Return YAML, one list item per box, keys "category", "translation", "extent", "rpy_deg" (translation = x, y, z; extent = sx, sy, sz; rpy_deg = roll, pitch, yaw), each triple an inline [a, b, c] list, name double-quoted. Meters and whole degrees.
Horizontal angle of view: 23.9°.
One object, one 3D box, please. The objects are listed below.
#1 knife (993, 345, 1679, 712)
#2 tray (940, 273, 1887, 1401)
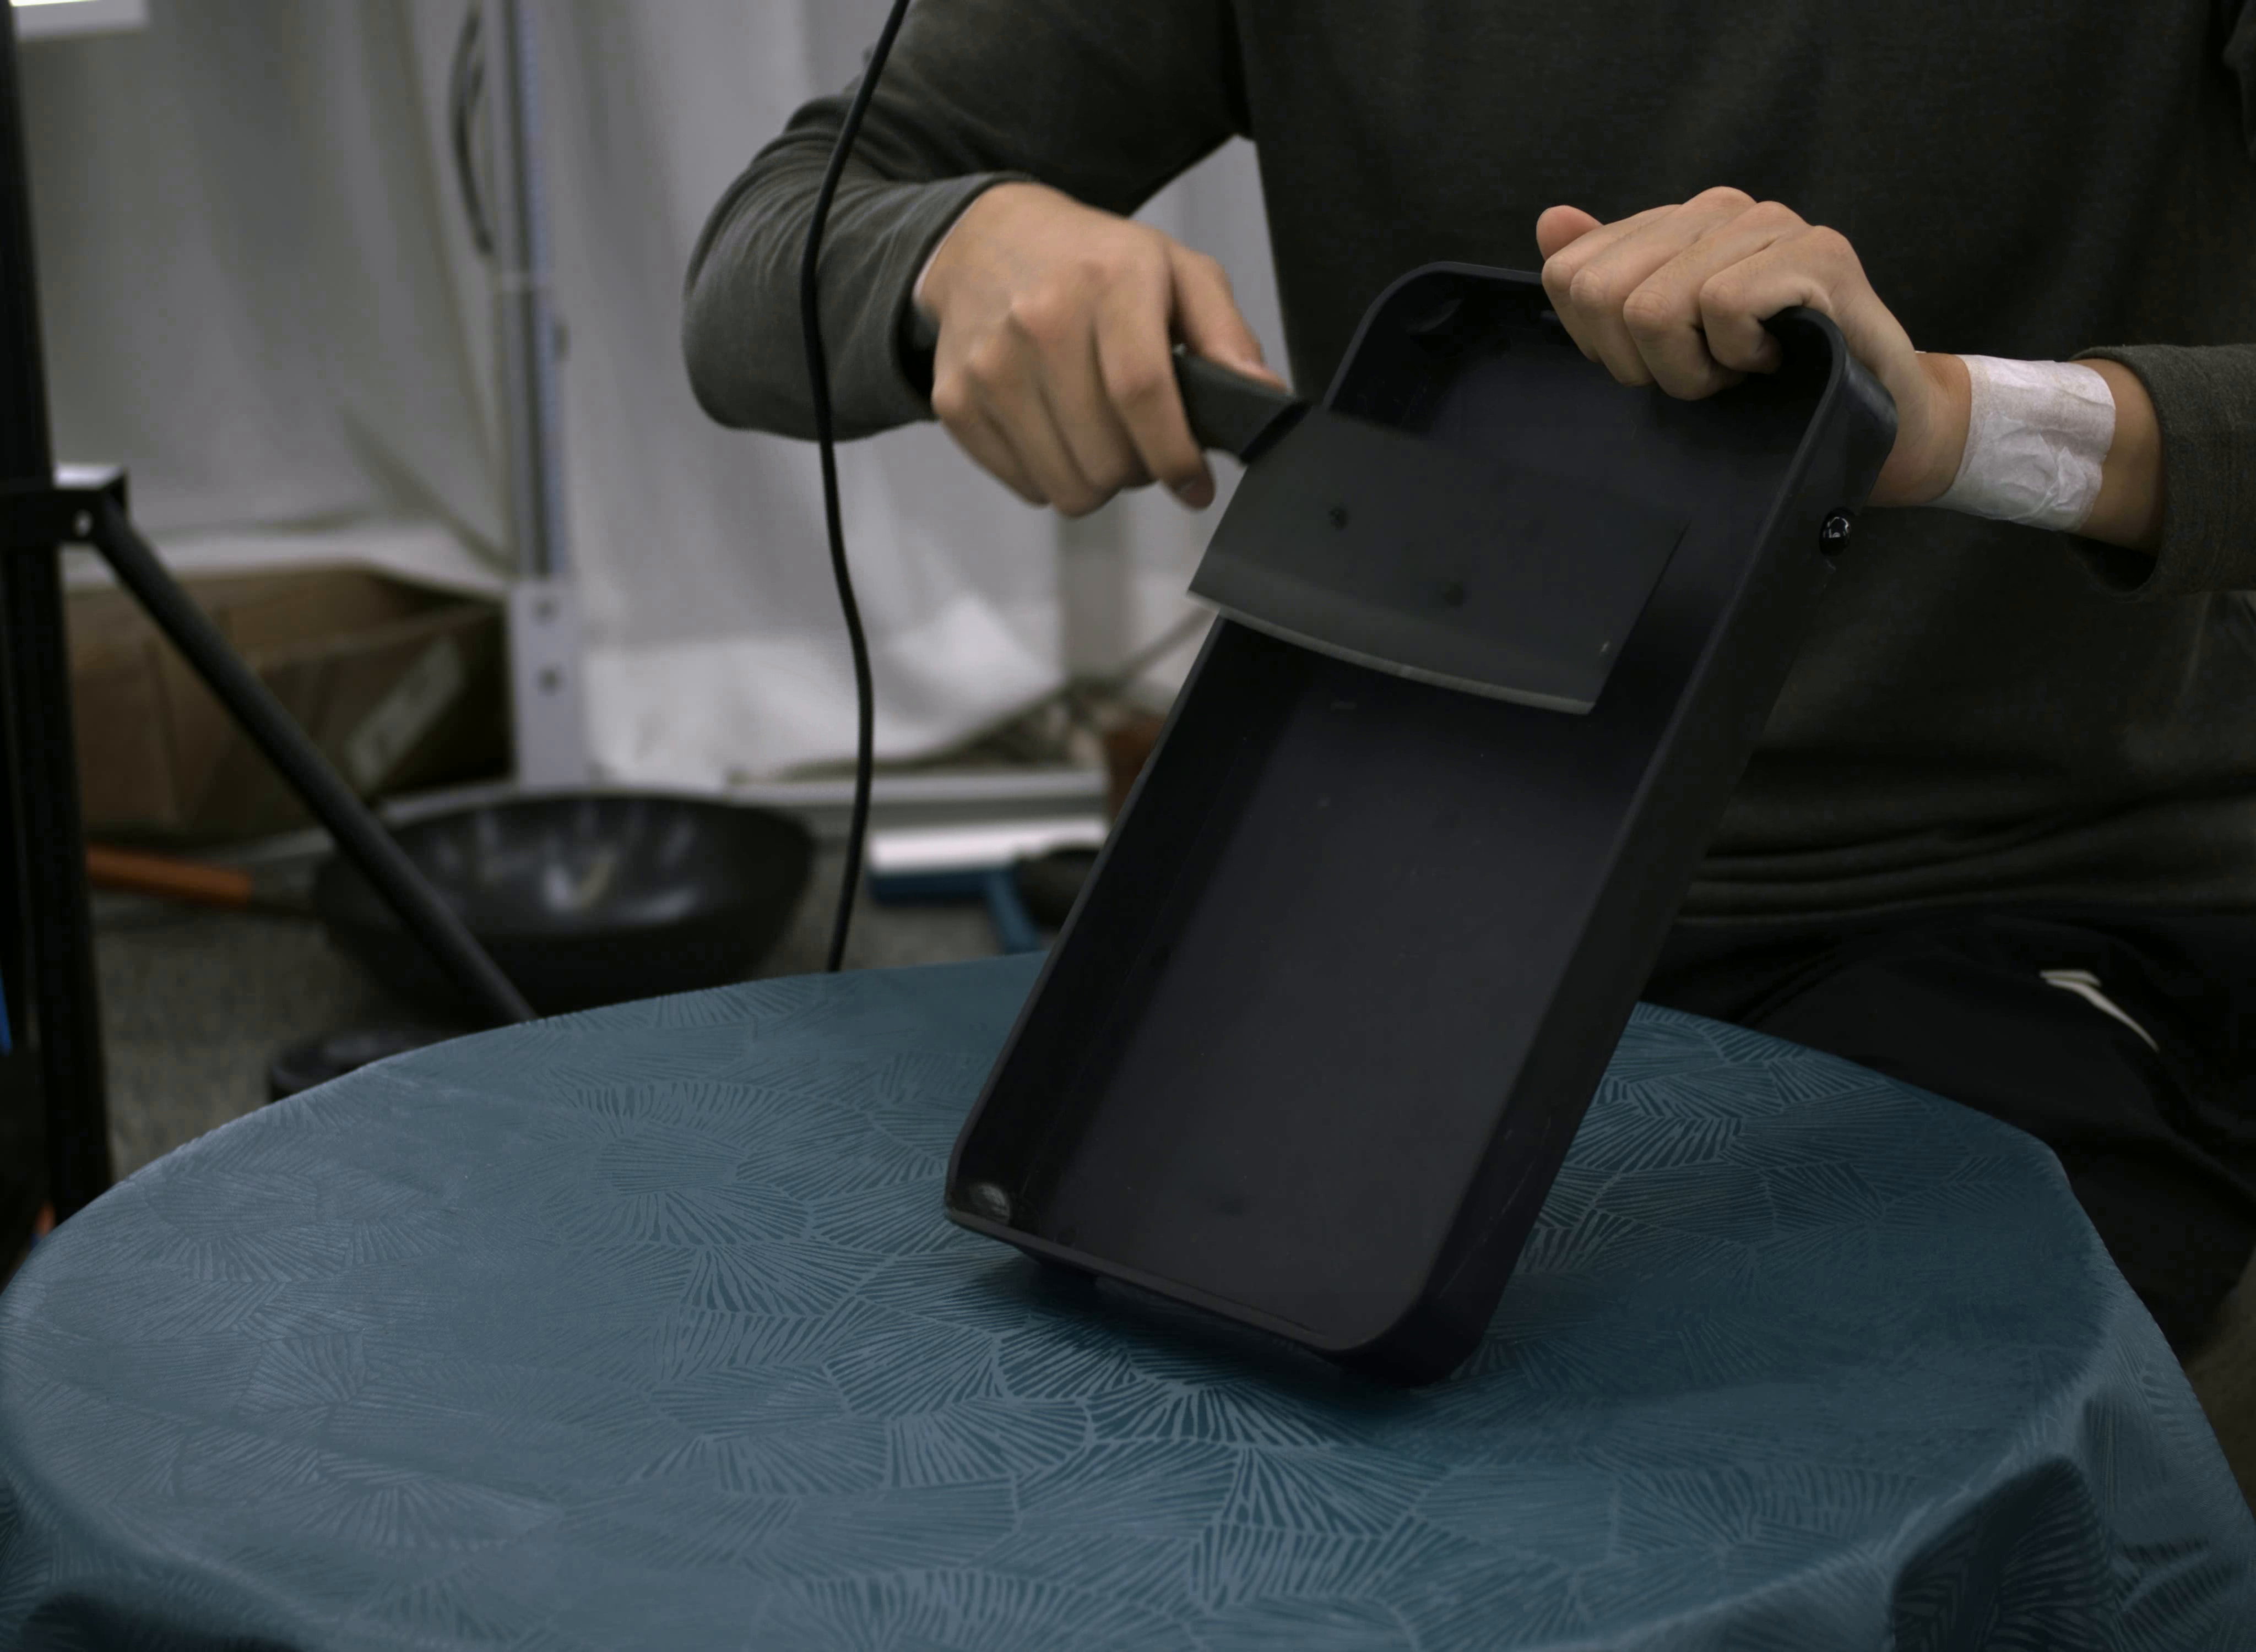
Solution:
- category: "knife"
  translation: [0.049, -0.091, 1.532]
  extent: [0.020, 0.081, 0.309]
  rpy_deg: [31, -2, -37]
- category: "tray"
  translation: [0.079, -0.003, 1.475]
  extent: [0.188, 0.318, 0.036]
  rpy_deg: [11, -19, 45]
